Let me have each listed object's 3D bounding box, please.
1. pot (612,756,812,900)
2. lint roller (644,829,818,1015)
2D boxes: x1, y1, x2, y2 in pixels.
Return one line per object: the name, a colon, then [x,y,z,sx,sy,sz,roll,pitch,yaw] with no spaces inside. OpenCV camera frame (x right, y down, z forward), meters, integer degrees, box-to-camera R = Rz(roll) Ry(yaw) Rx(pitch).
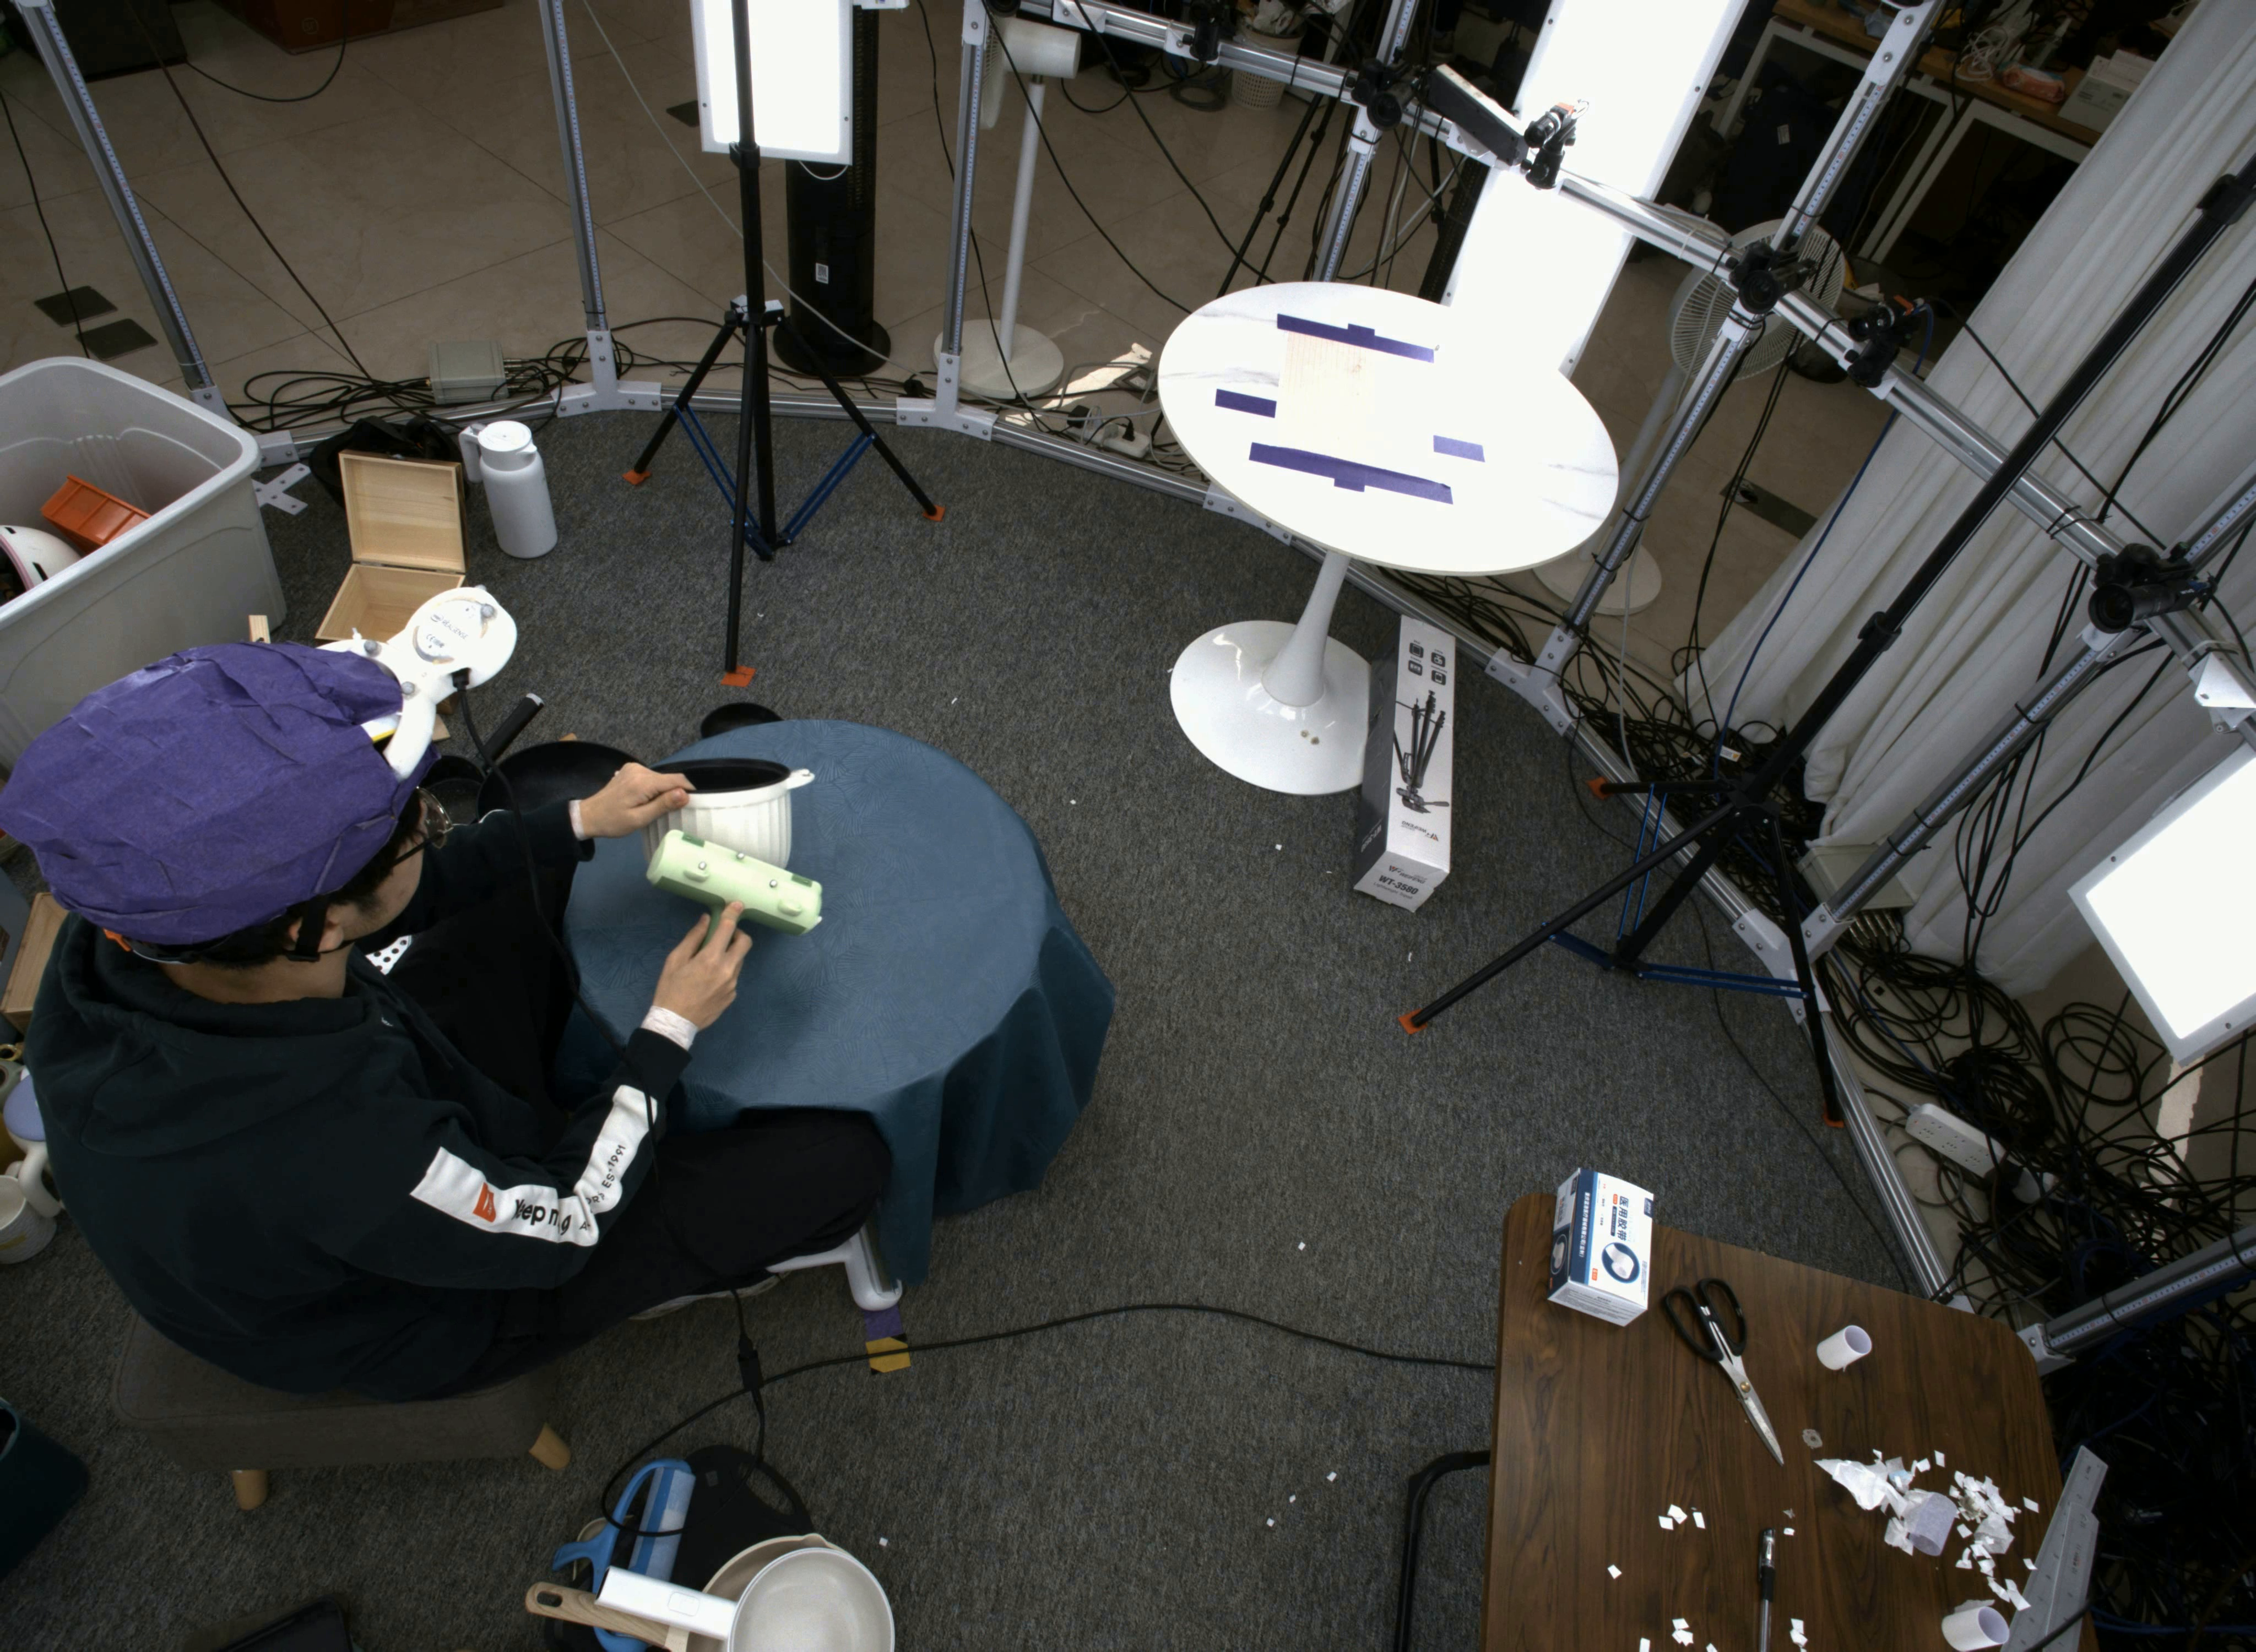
pot: [-0.506,-0.003,1.579,0.240,0.146,0.186,-1,18,-11]
lint roller: [-0.459,0.119,1.460,0.204,0.080,0.182,25,66,-34]
